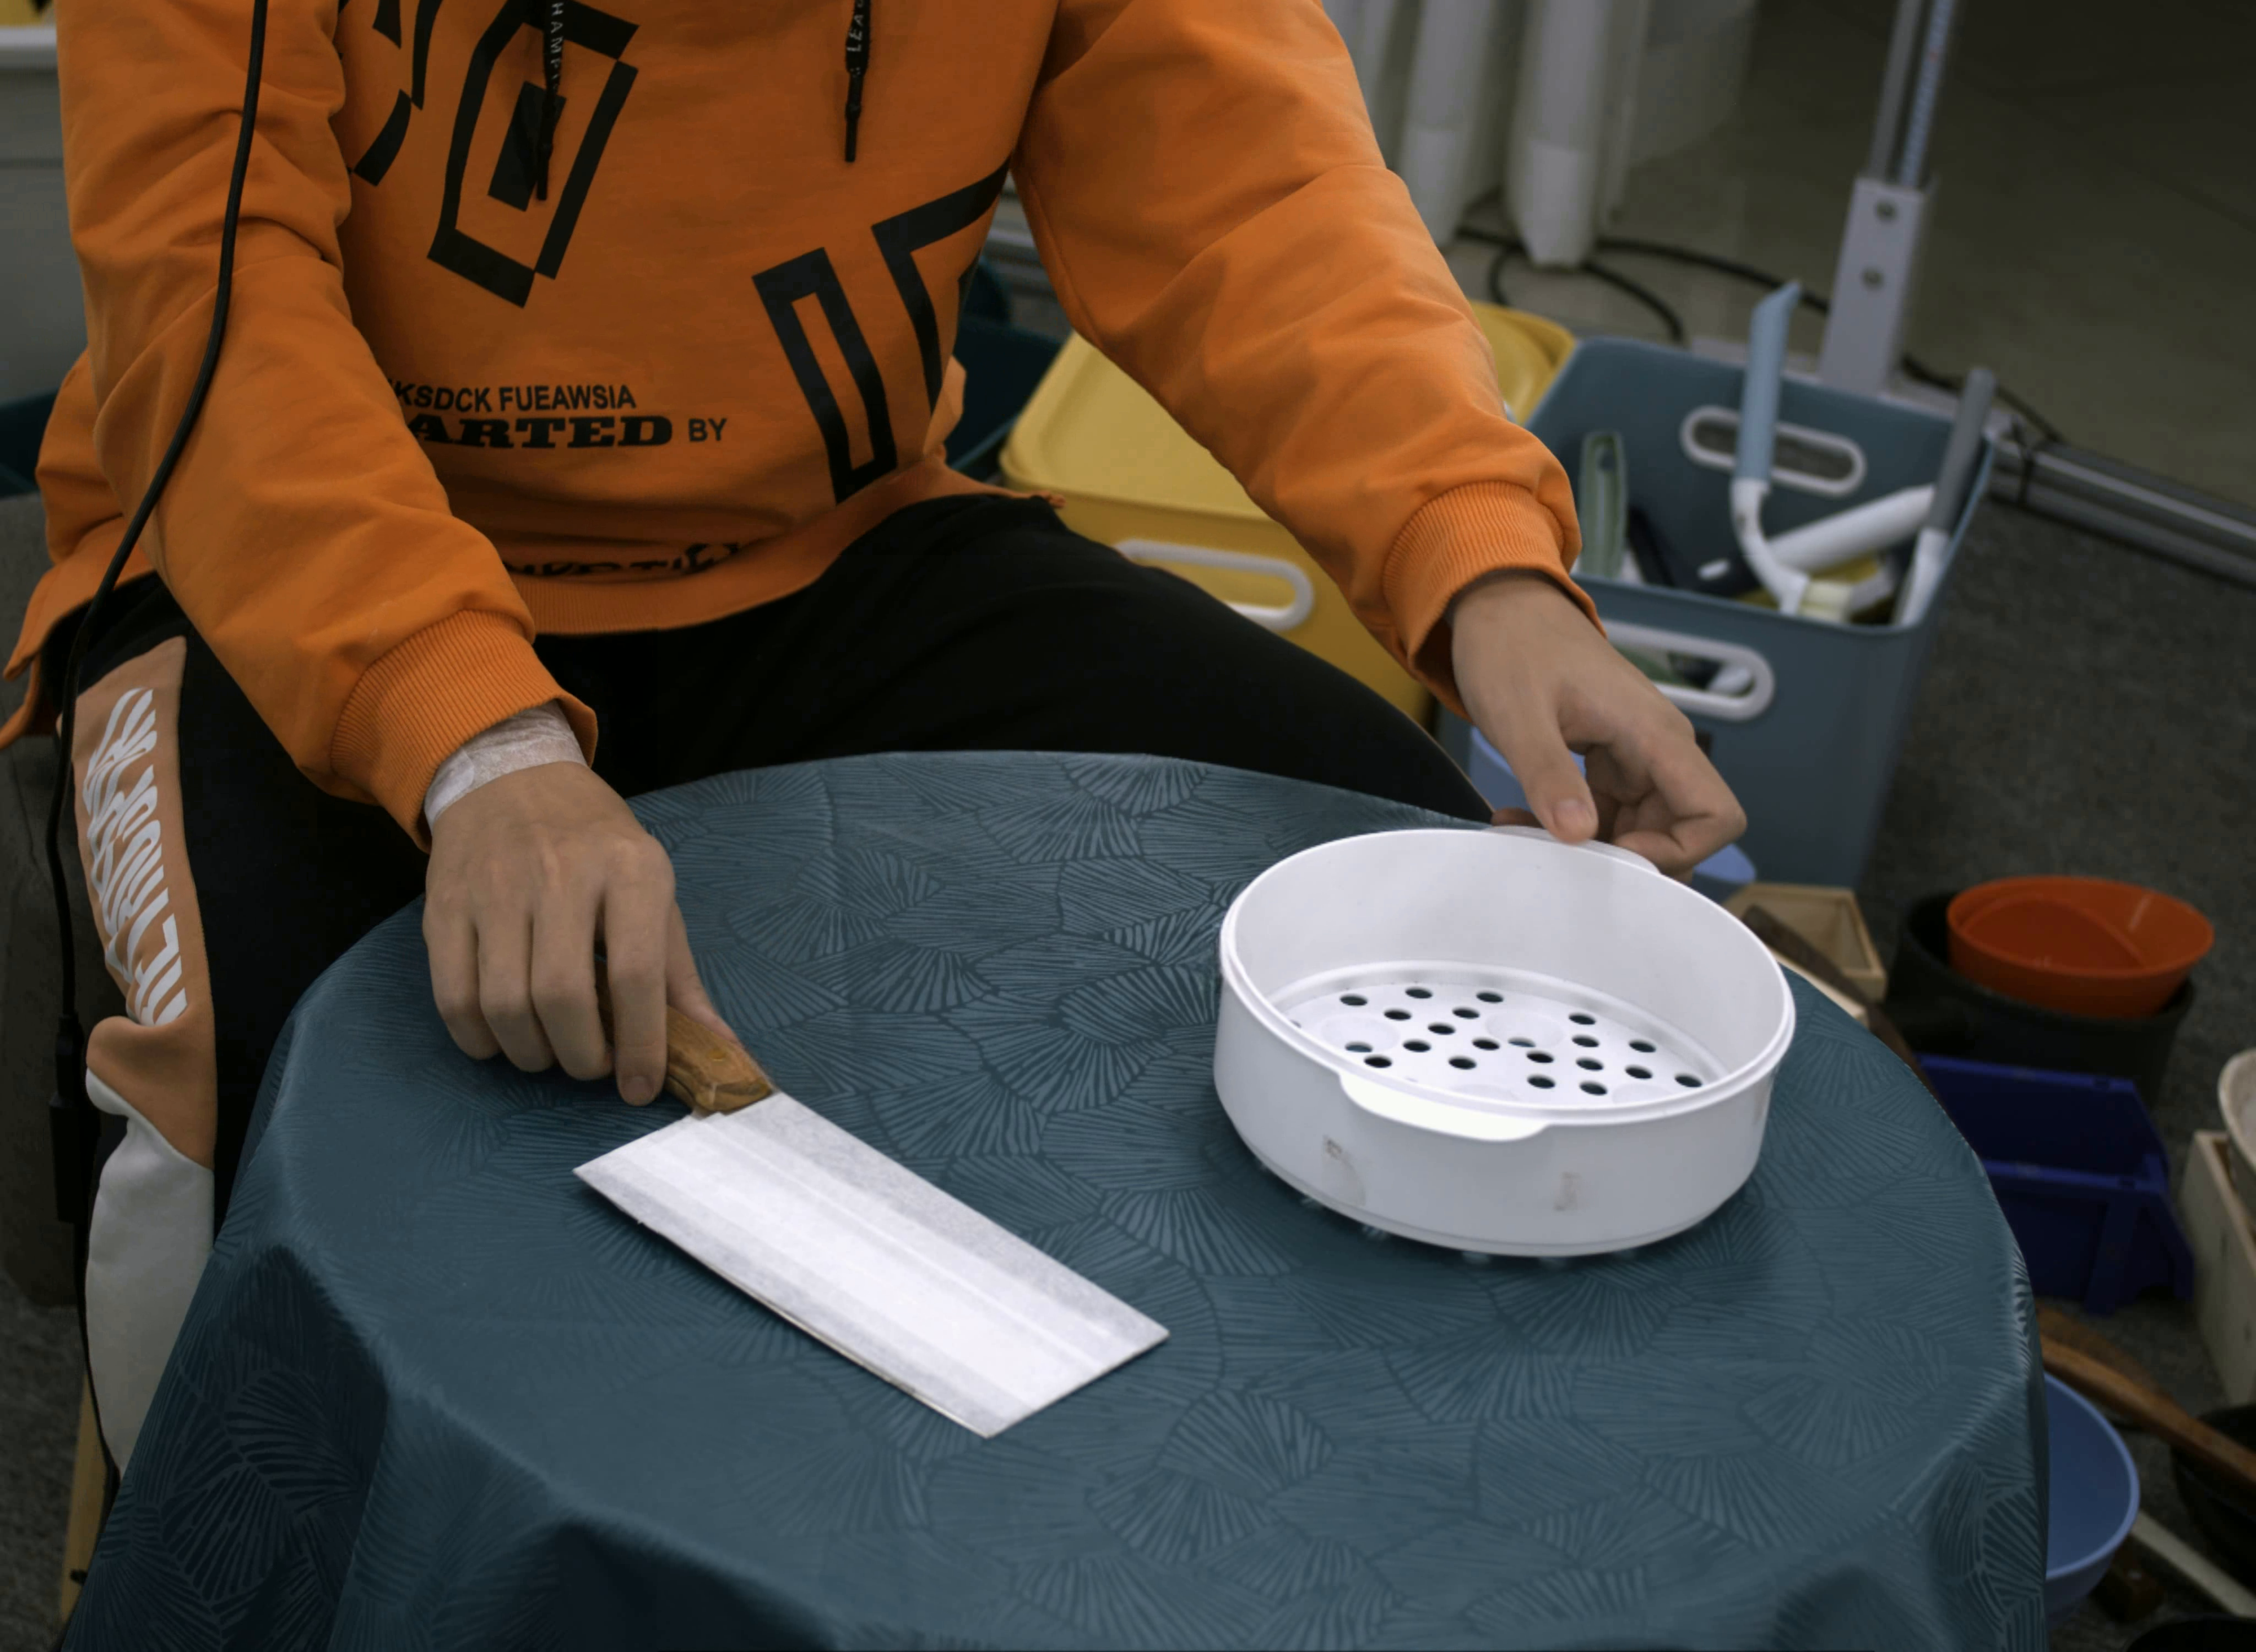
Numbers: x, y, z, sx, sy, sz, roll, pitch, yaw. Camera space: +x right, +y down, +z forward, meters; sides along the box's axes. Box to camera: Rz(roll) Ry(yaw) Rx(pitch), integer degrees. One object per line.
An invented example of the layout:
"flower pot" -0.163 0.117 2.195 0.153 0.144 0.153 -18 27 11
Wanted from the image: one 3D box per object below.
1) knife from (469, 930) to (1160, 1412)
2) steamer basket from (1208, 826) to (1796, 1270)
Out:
"knife" -0.126 0.115 1.774 0.308 0.021 0.092 29 36 33
"steamer basket" 0.127 0.078 1.845 0.202 0.069 0.231 12 29 13
